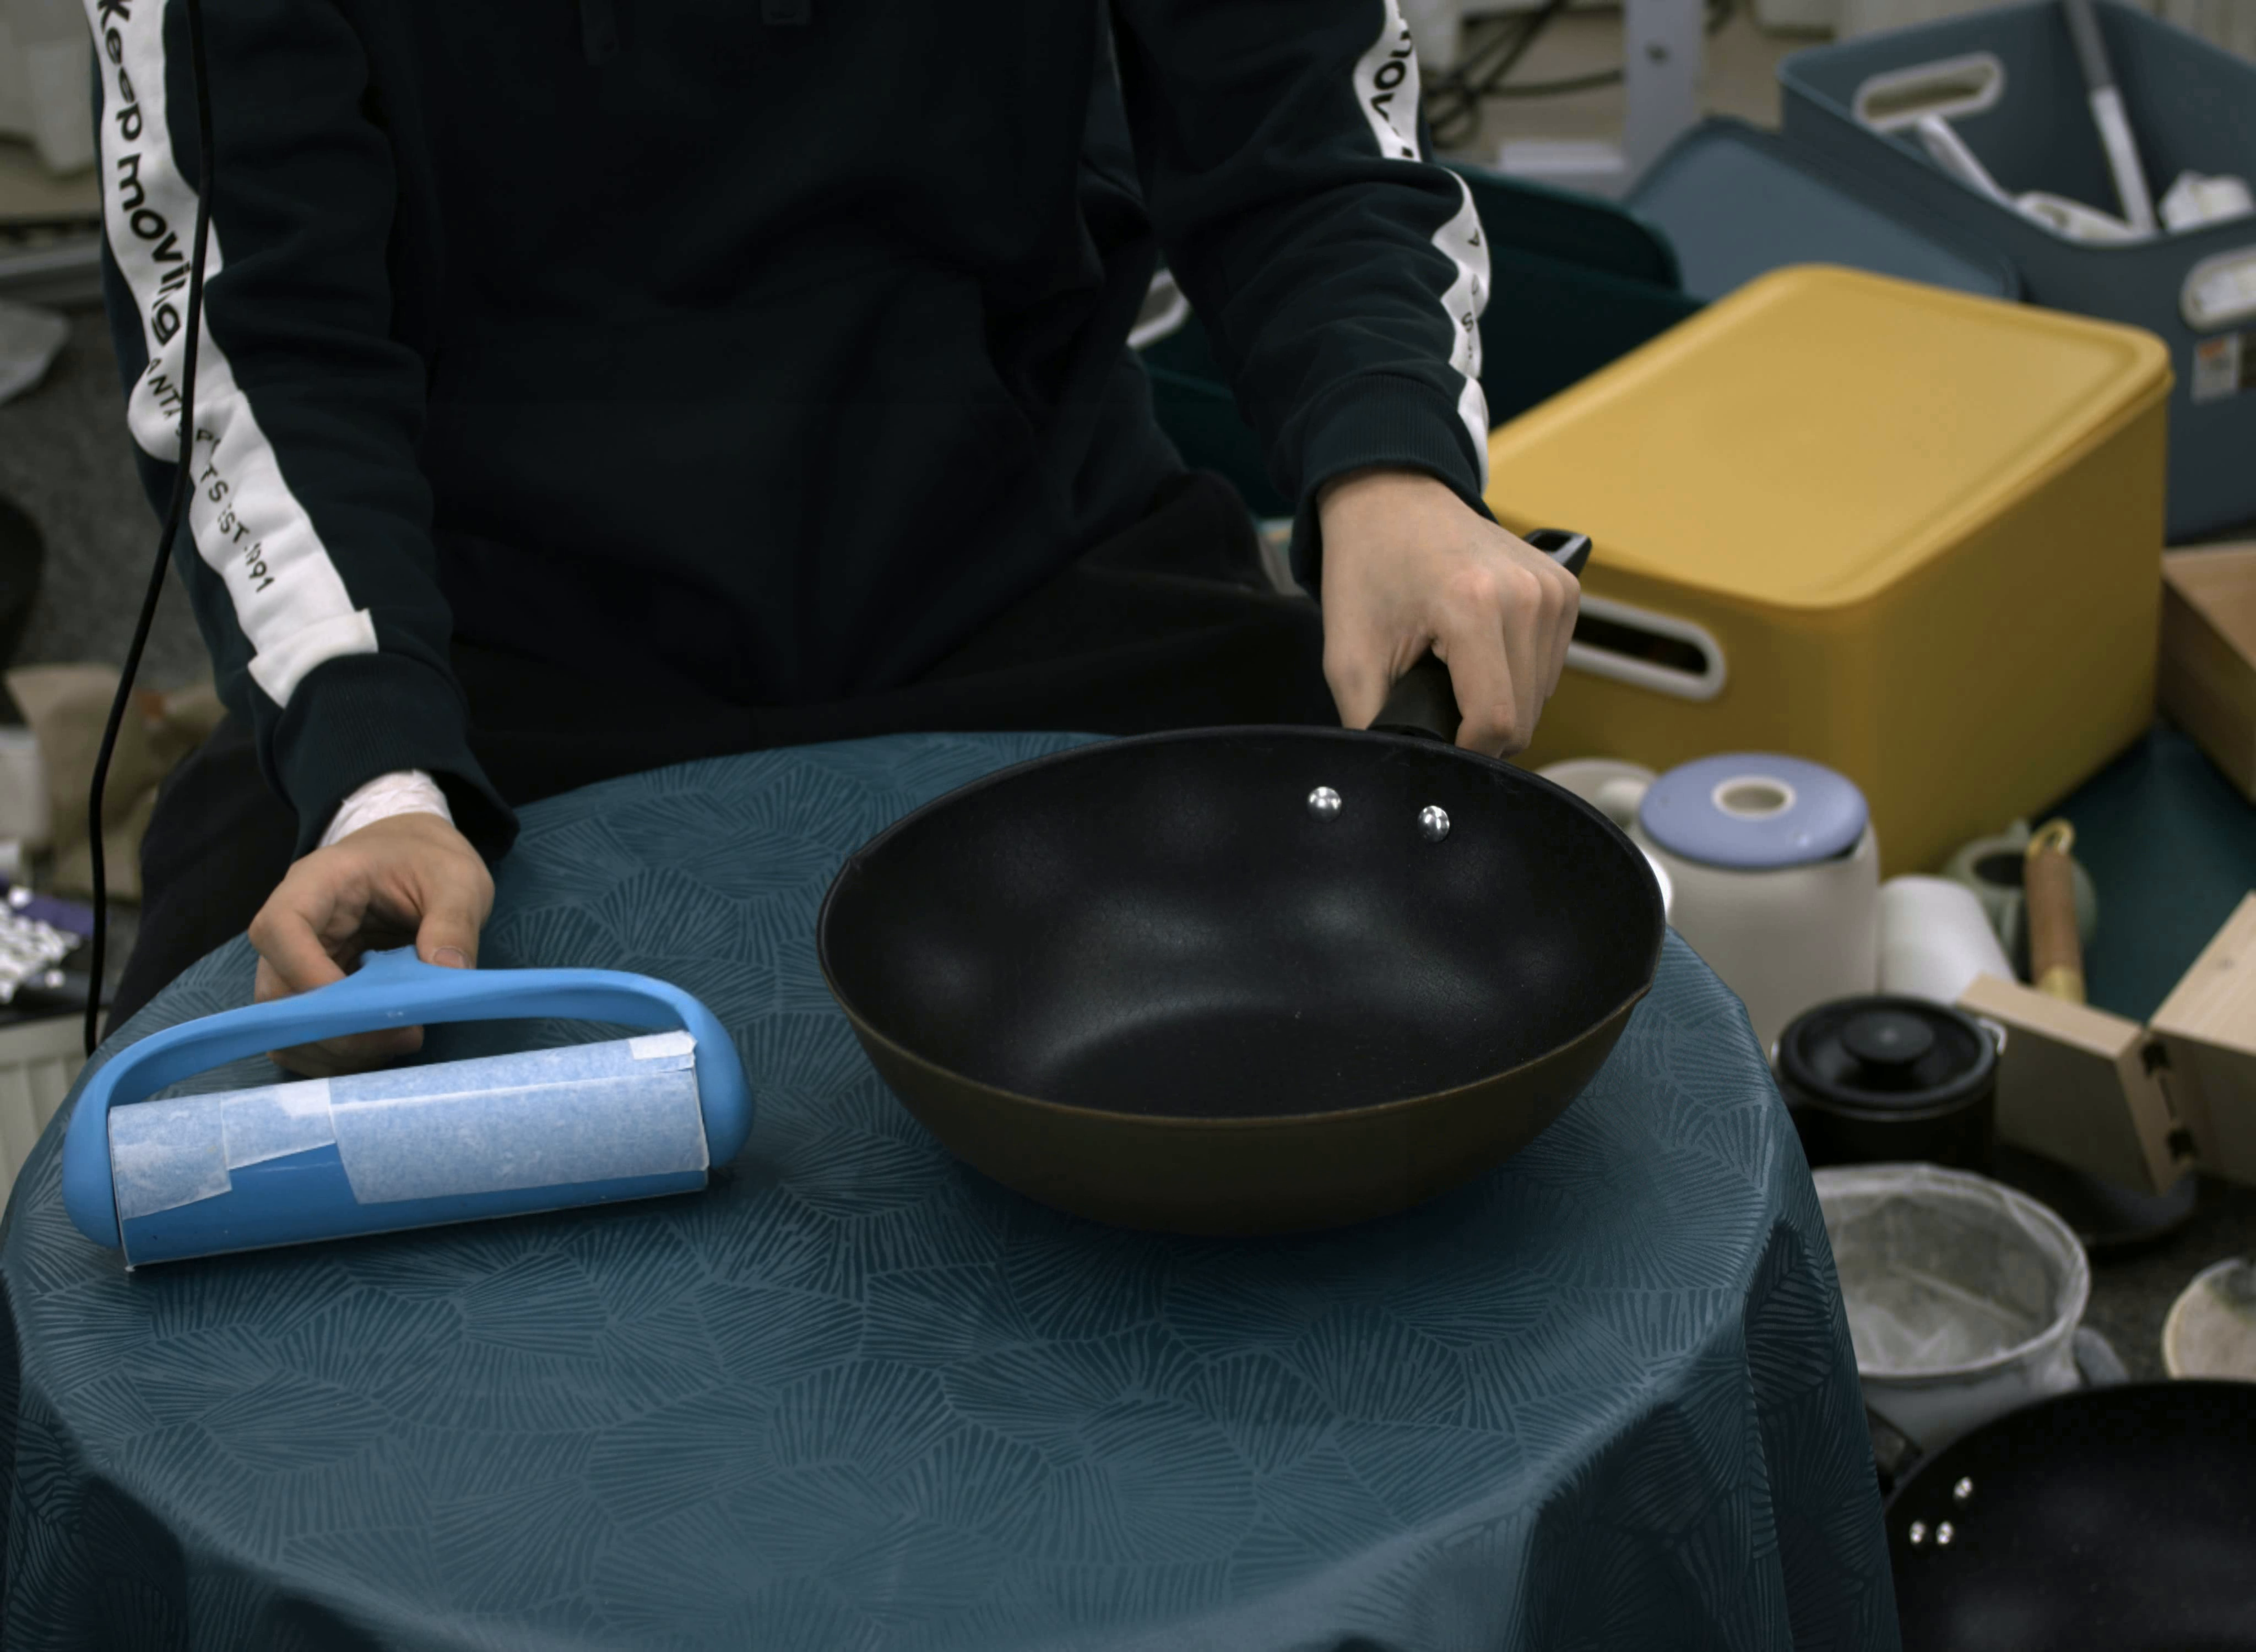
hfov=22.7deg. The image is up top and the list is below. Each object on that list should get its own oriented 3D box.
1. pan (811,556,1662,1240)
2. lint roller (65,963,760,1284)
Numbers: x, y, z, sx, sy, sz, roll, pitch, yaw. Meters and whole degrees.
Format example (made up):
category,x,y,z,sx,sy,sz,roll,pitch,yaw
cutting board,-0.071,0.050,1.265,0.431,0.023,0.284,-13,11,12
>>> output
category,x,y,z,sx,sy,sz,roll,pitch,yaw
pan,0.073,0.025,1.954,0.286,0.086,0.471,10,28,22
lint roller,-0.248,0.082,1.902,0.229,0.067,0.182,-11,29,-10
